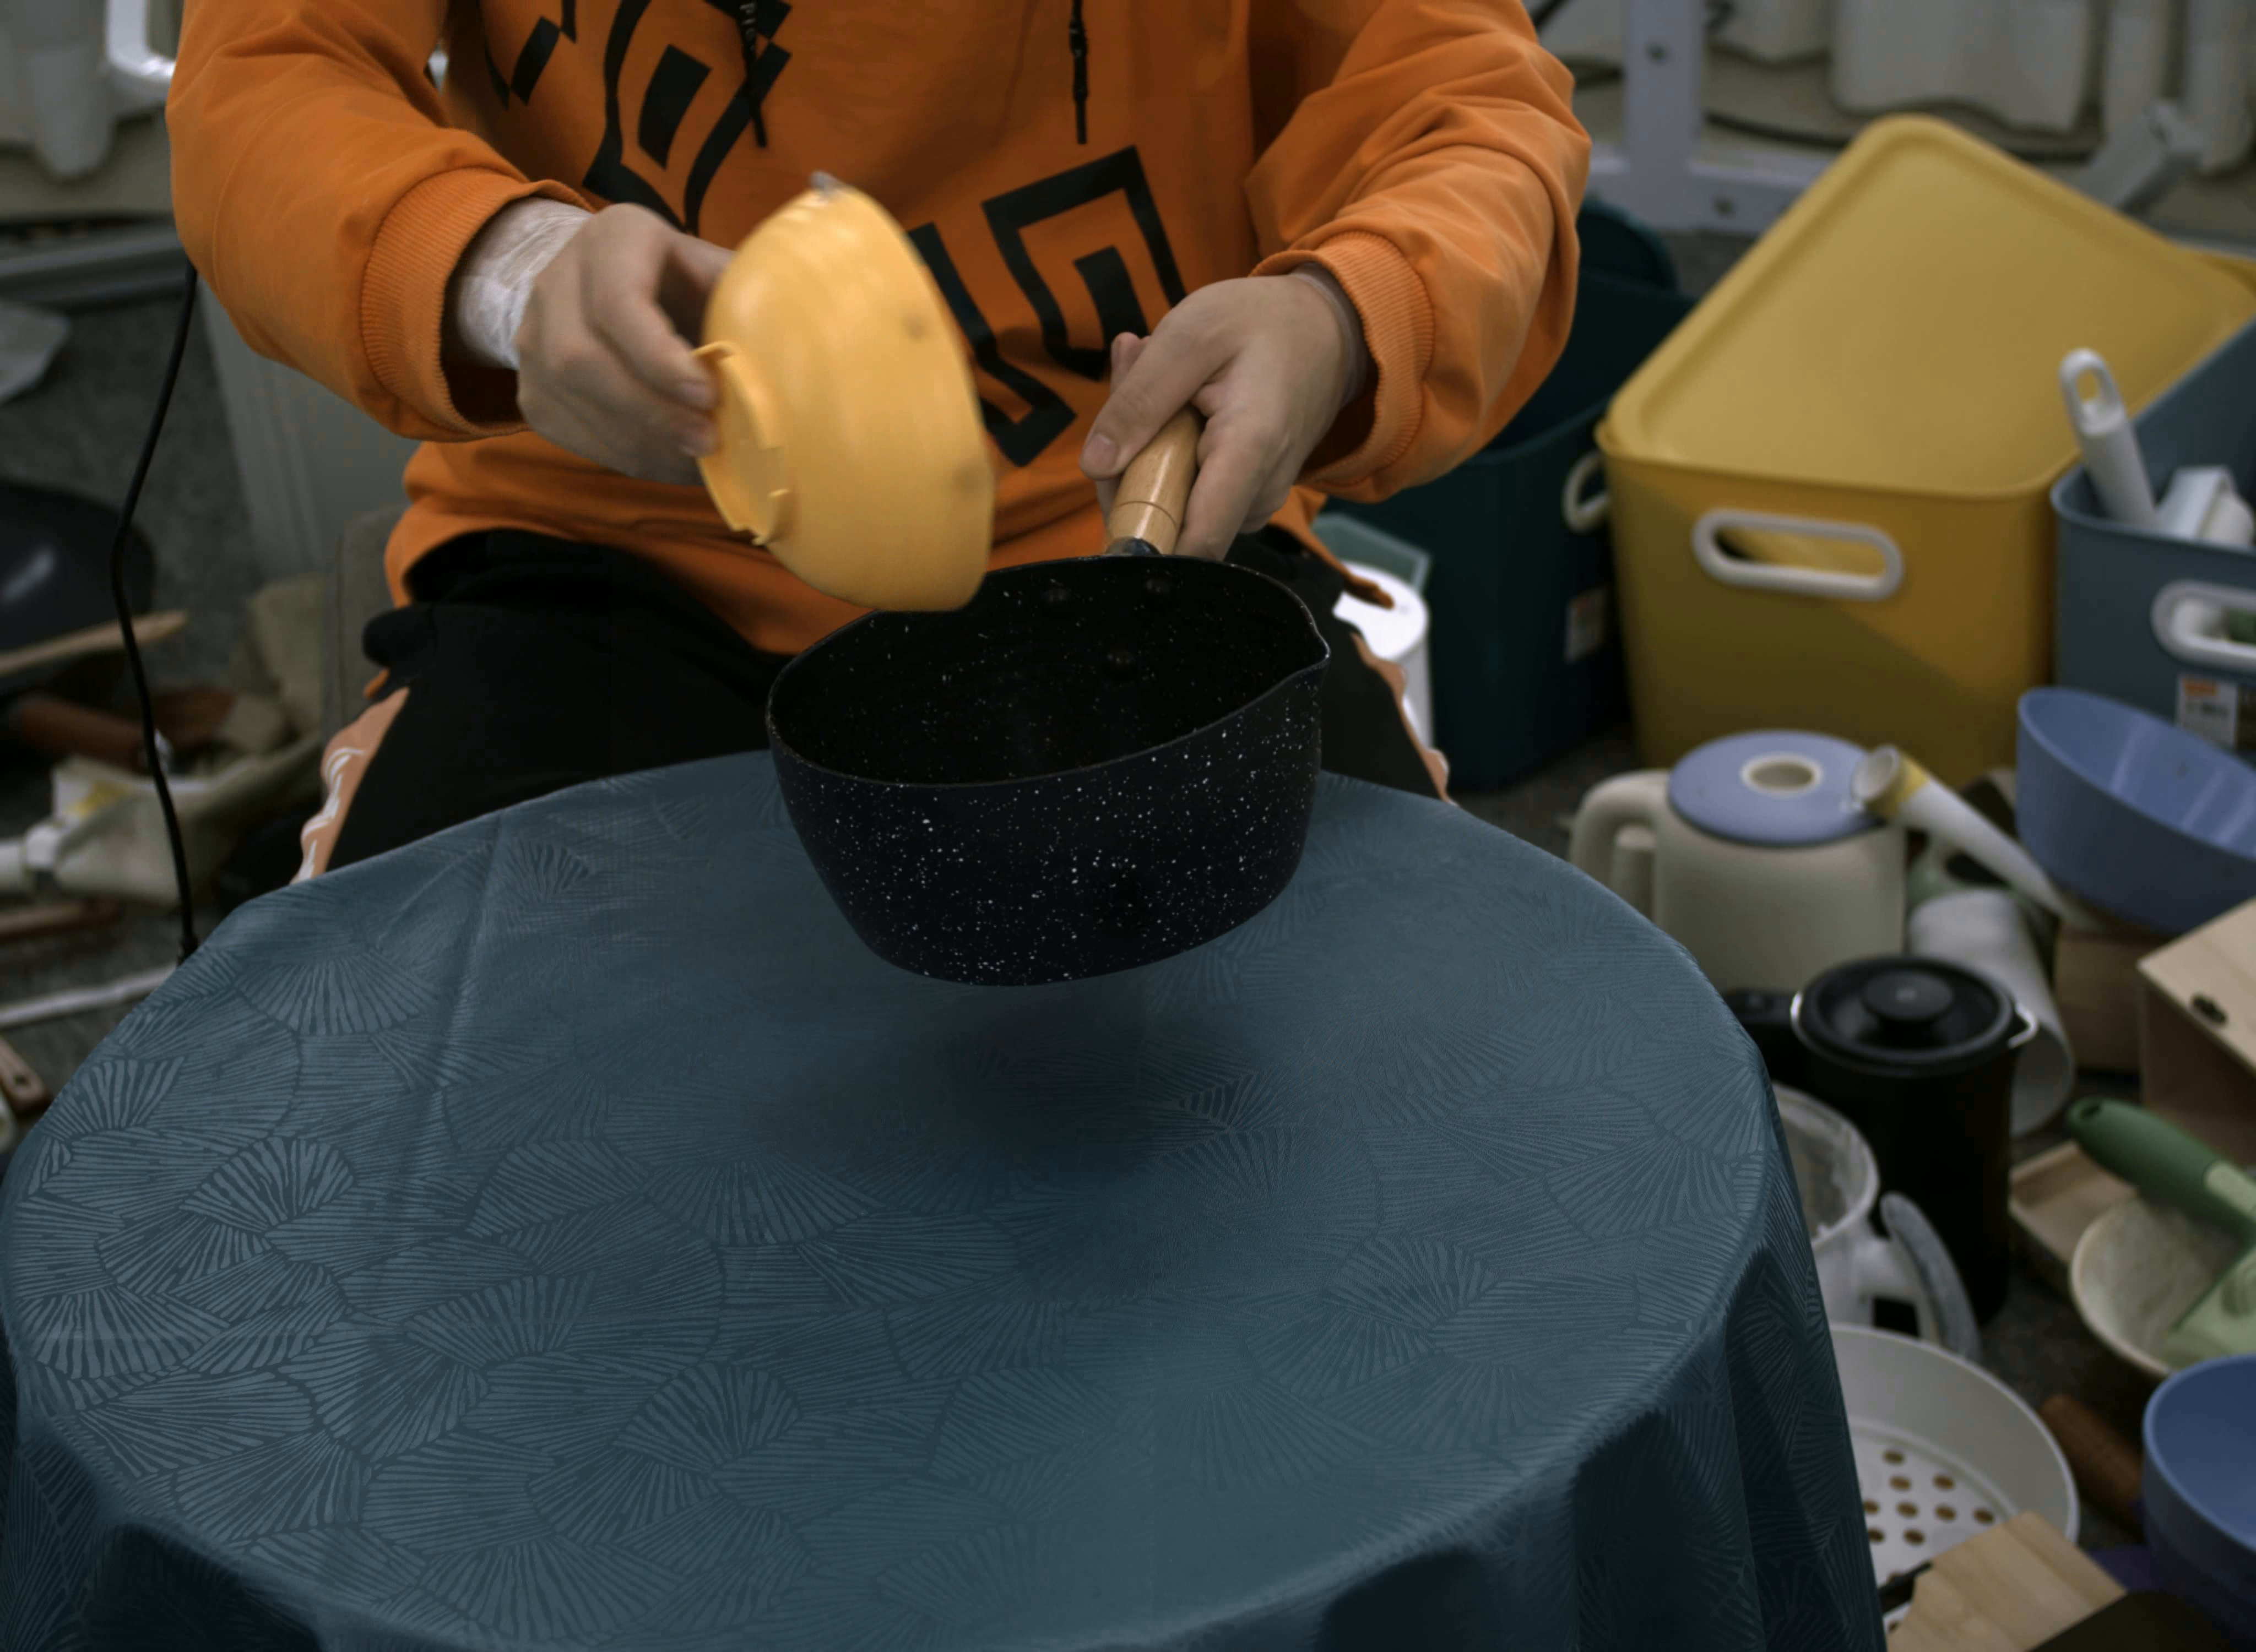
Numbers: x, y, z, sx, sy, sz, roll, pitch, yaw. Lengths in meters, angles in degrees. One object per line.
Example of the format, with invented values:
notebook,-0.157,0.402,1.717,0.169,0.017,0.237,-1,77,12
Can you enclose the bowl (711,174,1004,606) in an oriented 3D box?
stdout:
bowl,-0.096,-0.133,1.827,0.060,0.144,0.146,-18,31,-20

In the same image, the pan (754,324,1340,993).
pan,-0.007,-0.061,1.946,0.206,0.107,0.348,-4,25,16
